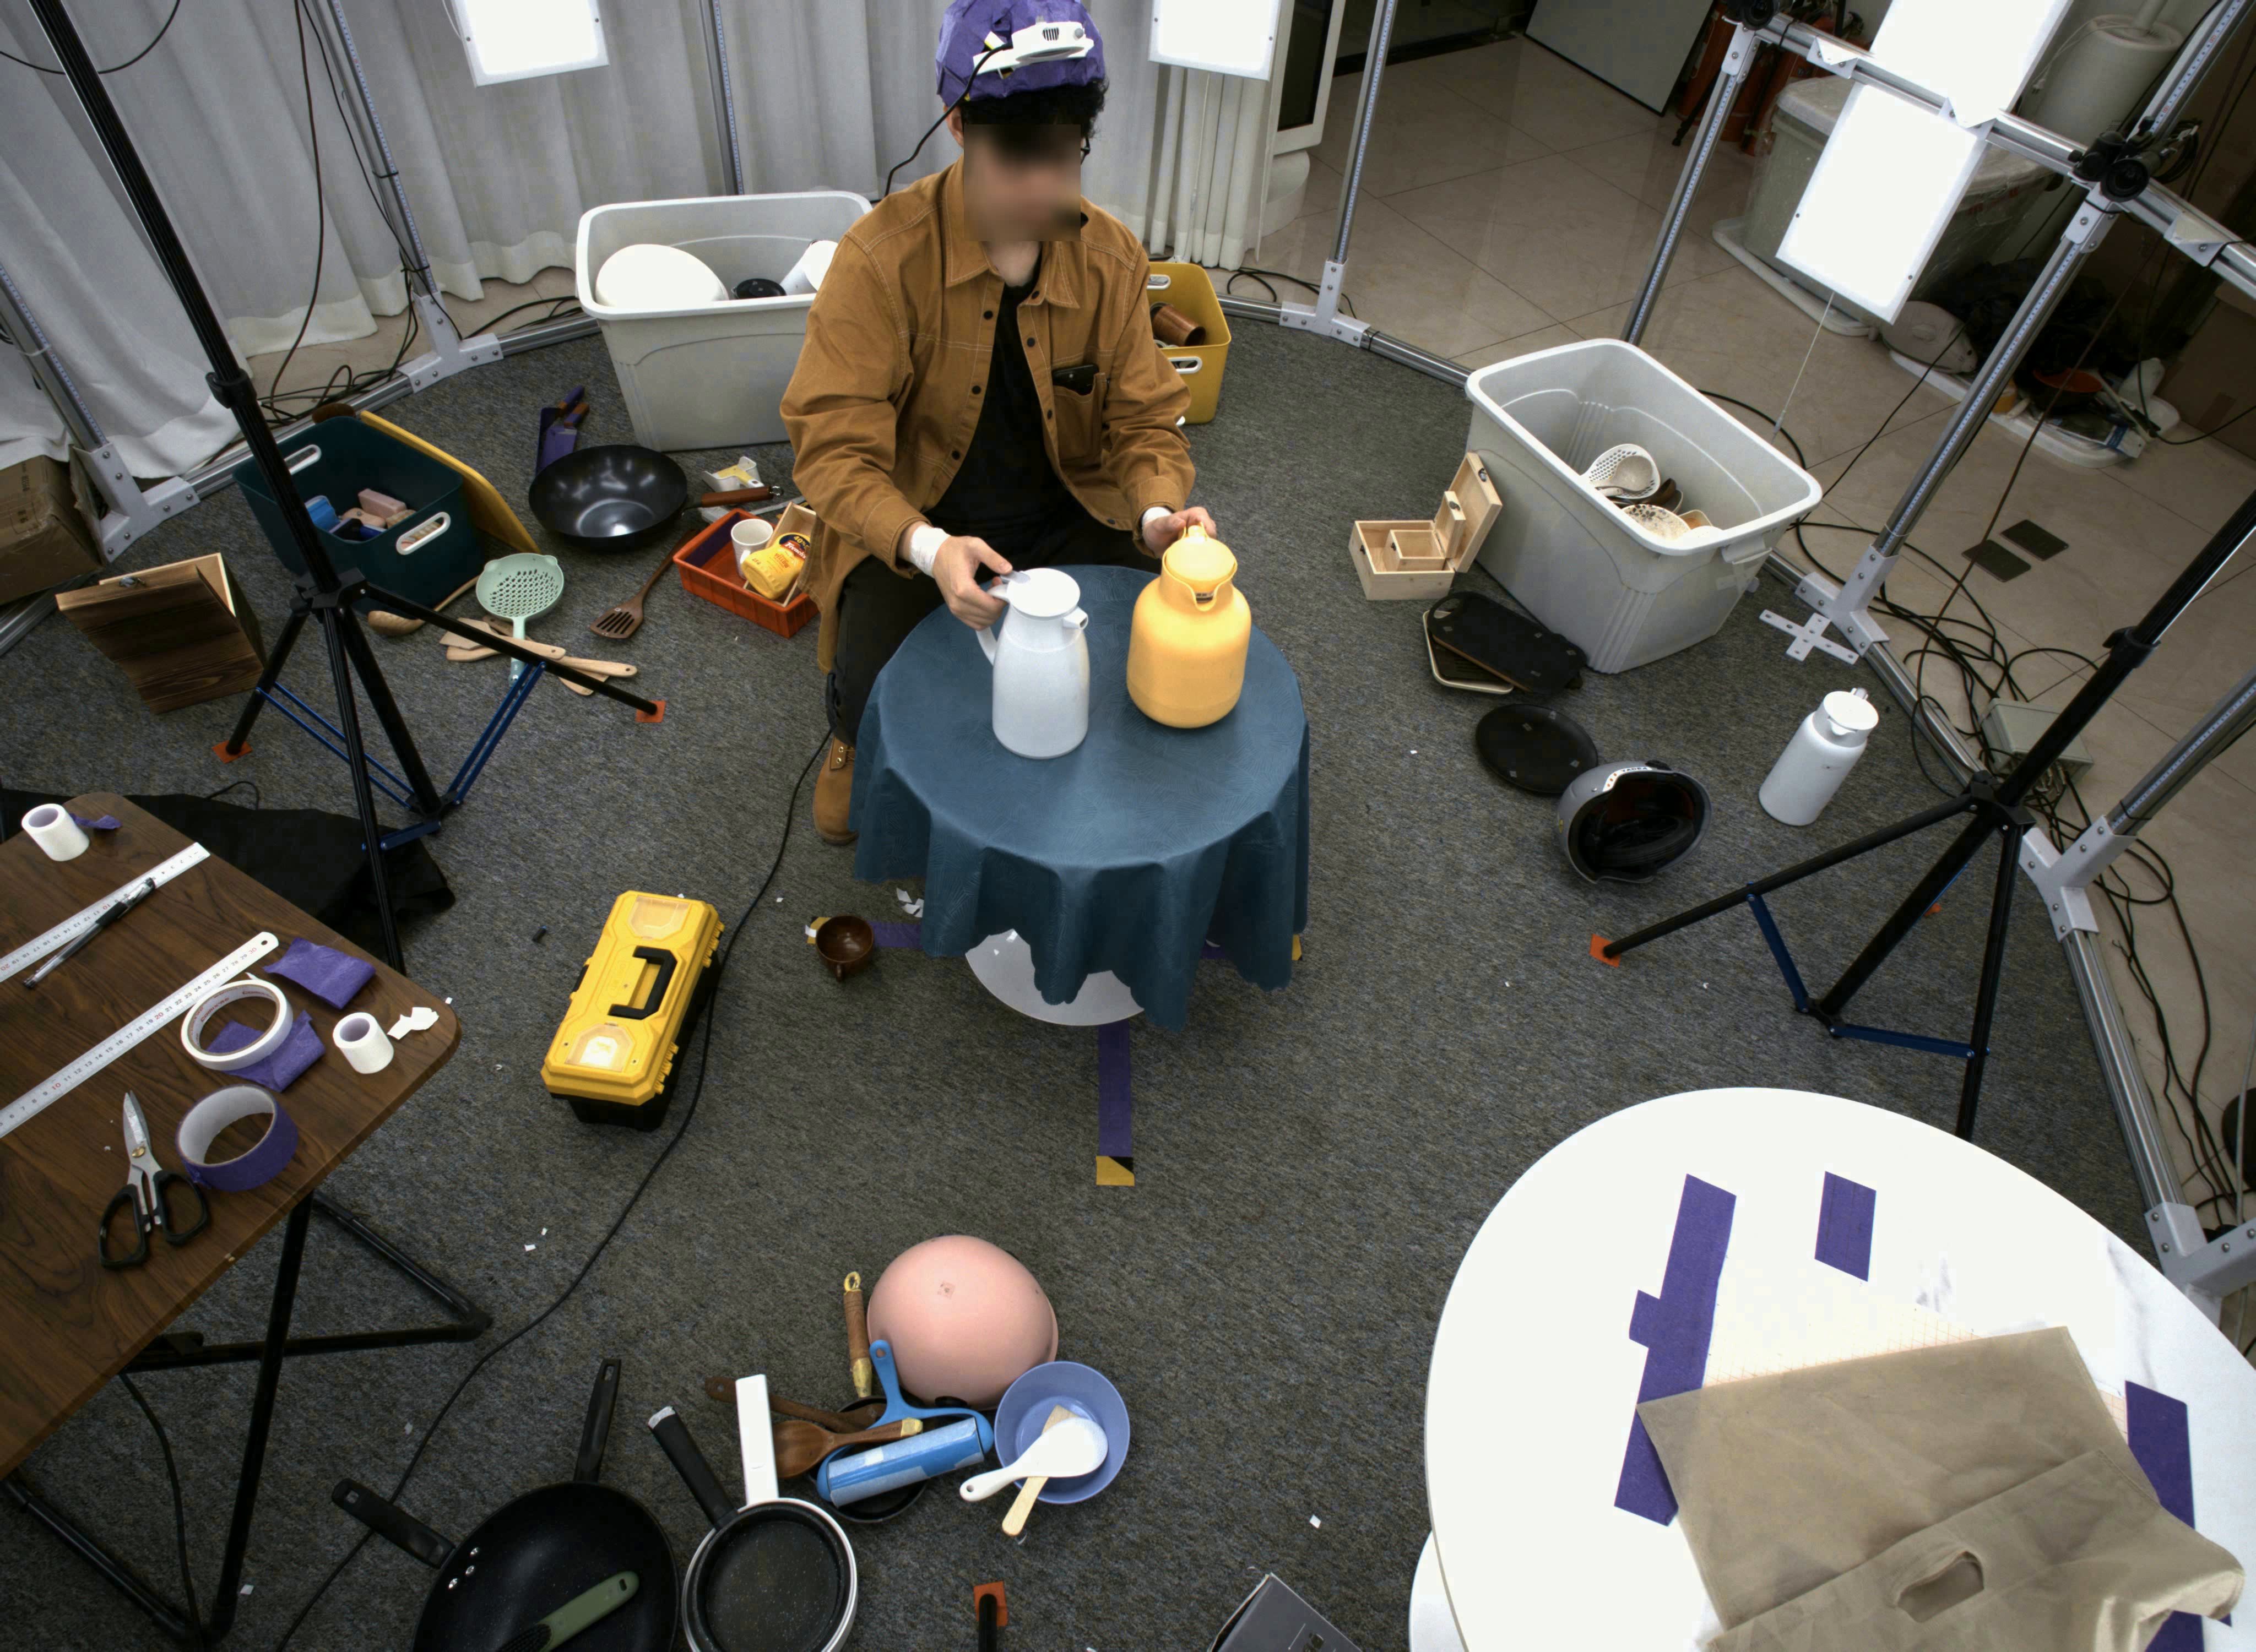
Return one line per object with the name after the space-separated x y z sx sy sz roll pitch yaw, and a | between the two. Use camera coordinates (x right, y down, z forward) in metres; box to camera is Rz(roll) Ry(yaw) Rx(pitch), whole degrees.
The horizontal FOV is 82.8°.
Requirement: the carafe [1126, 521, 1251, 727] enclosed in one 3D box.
0.085 -0.282 1.752 0.163 0.254 0.207 2 50 -4 | carafe

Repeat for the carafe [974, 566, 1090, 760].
-0.131 -0.227 1.698 0.169 0.242 0.134 28 52 20 | carafe
